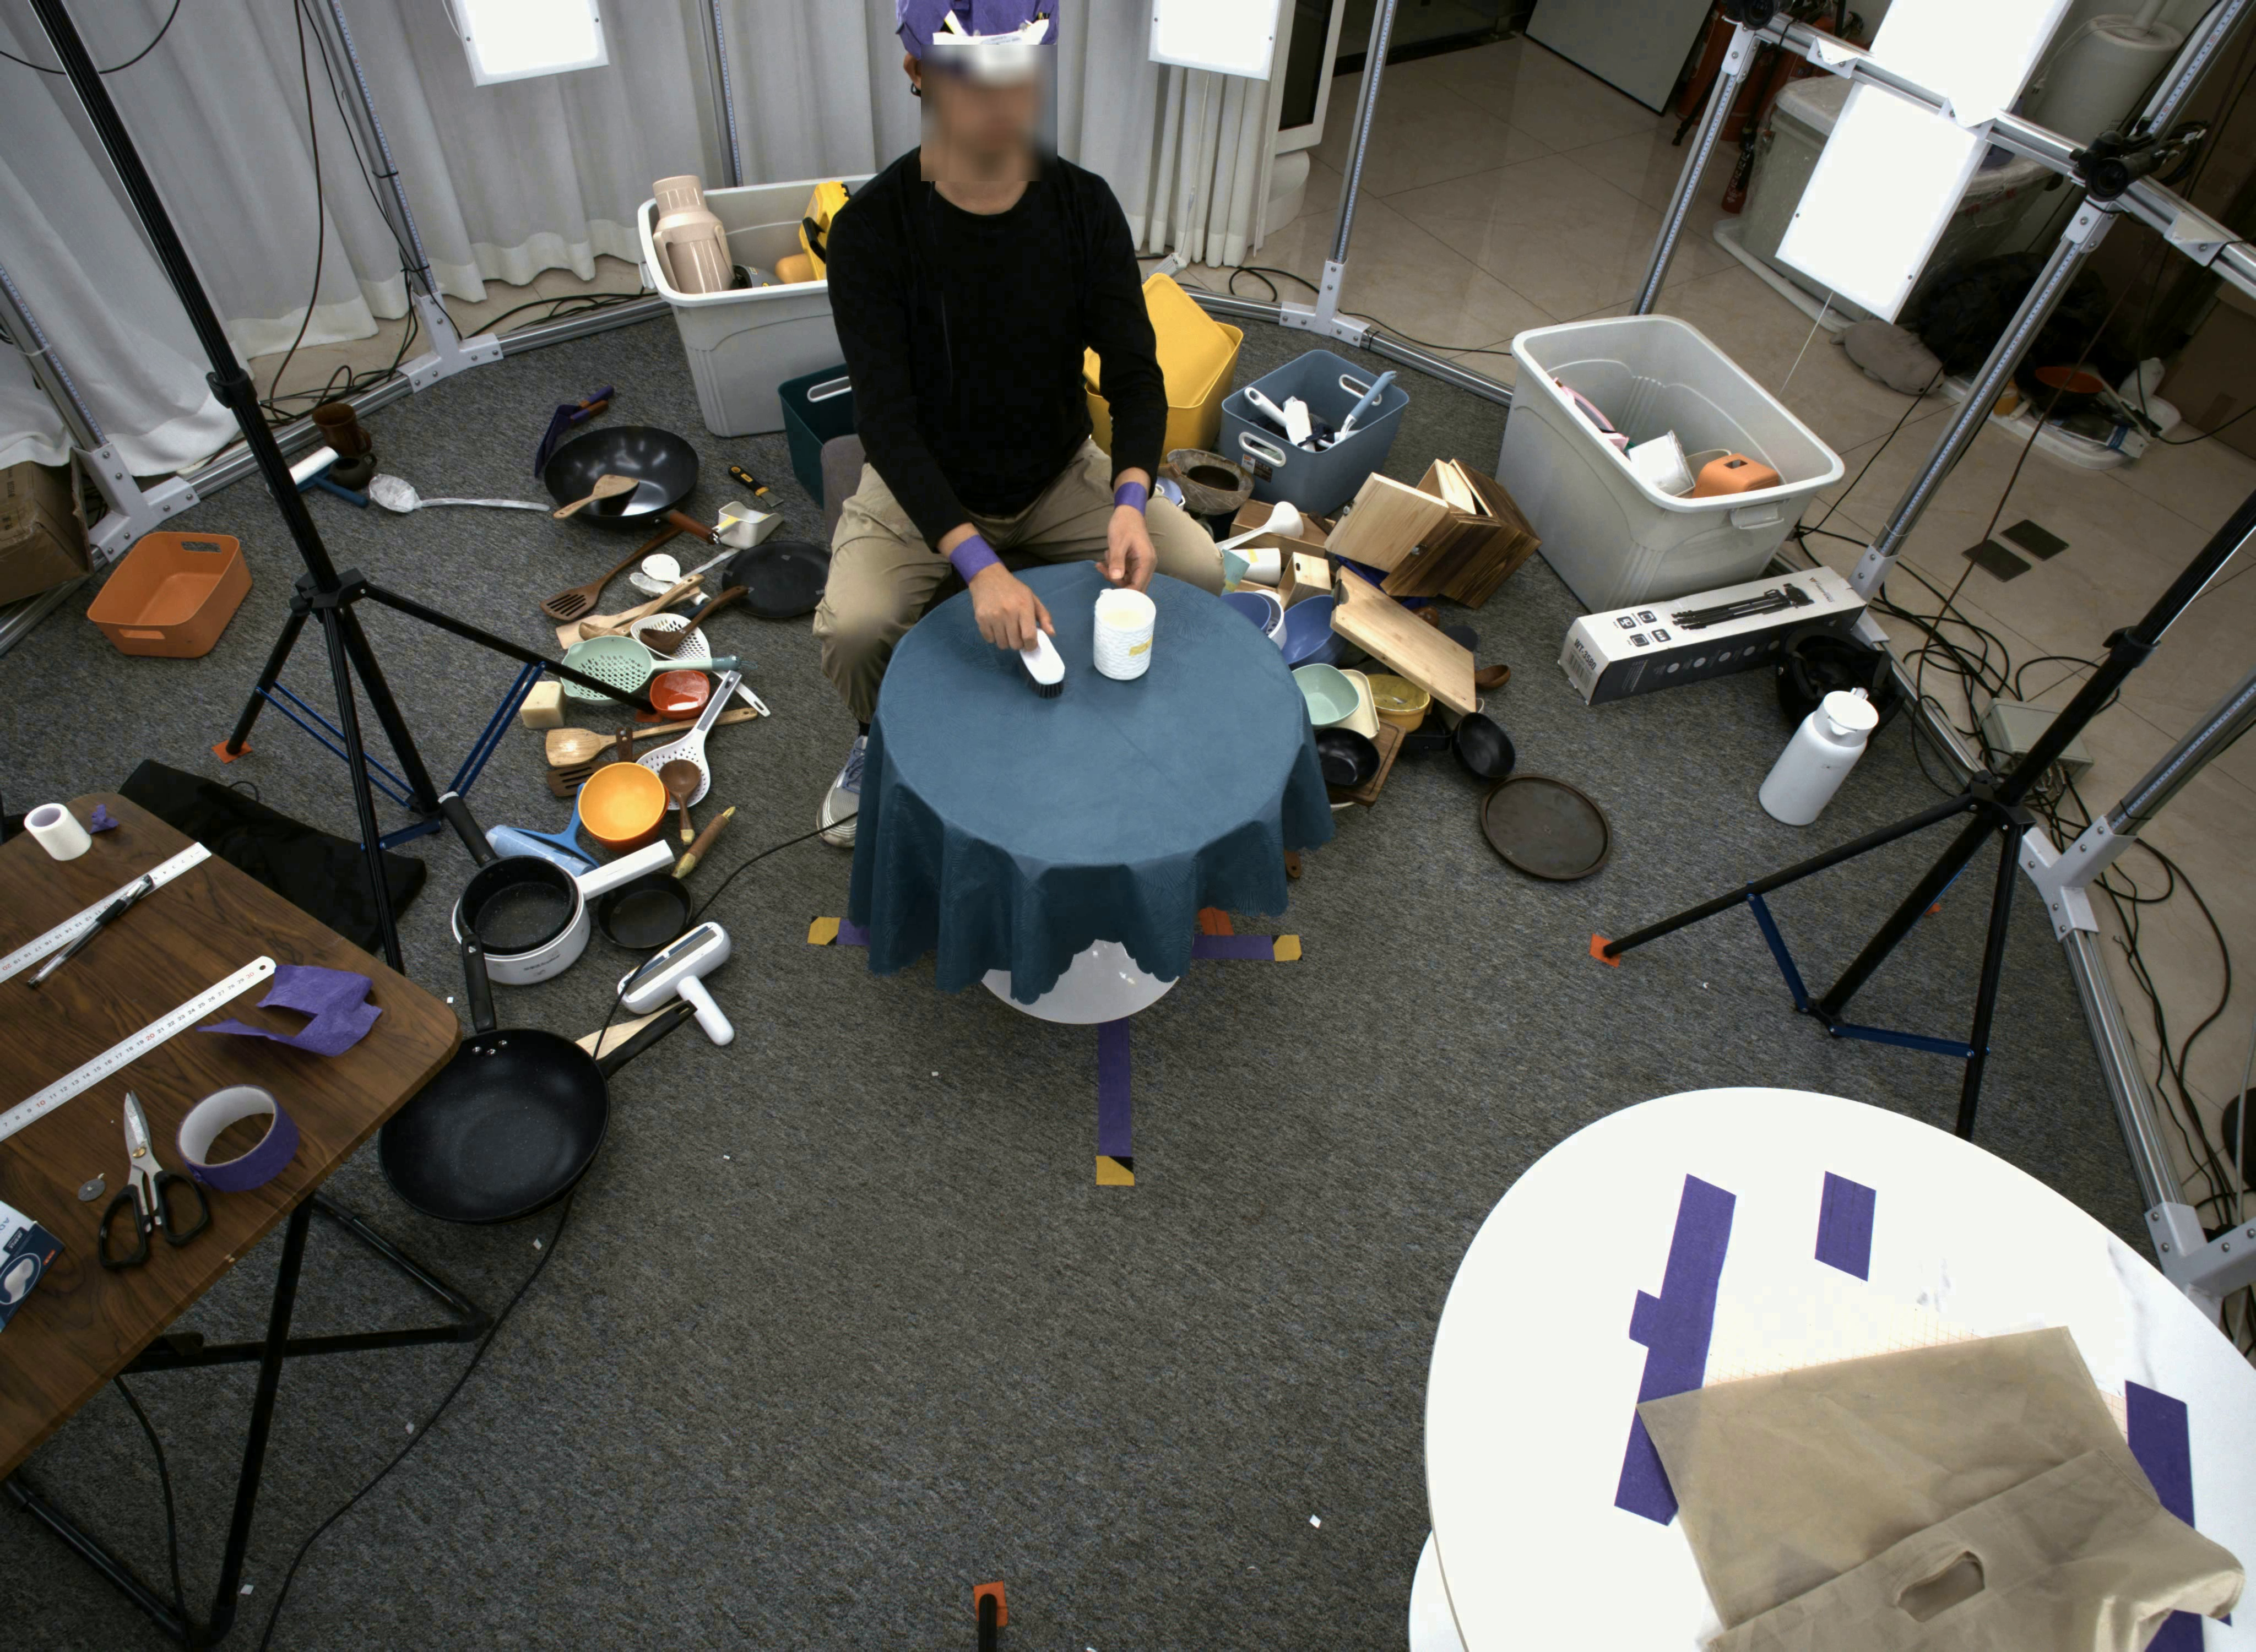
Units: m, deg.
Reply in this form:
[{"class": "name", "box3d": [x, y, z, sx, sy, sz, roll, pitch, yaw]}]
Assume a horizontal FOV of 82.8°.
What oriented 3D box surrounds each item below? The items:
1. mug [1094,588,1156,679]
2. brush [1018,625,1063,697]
[{"class": "mug", "box3d": [-0.012, -0.285, 1.846, 0.085, 0.099, 0.121, -16, 51, -17]}, {"class": "brush", "box3d": [-0.123, -0.241, 1.819, 0.050, 0.071, 0.101, -13, 52, -18]}]
